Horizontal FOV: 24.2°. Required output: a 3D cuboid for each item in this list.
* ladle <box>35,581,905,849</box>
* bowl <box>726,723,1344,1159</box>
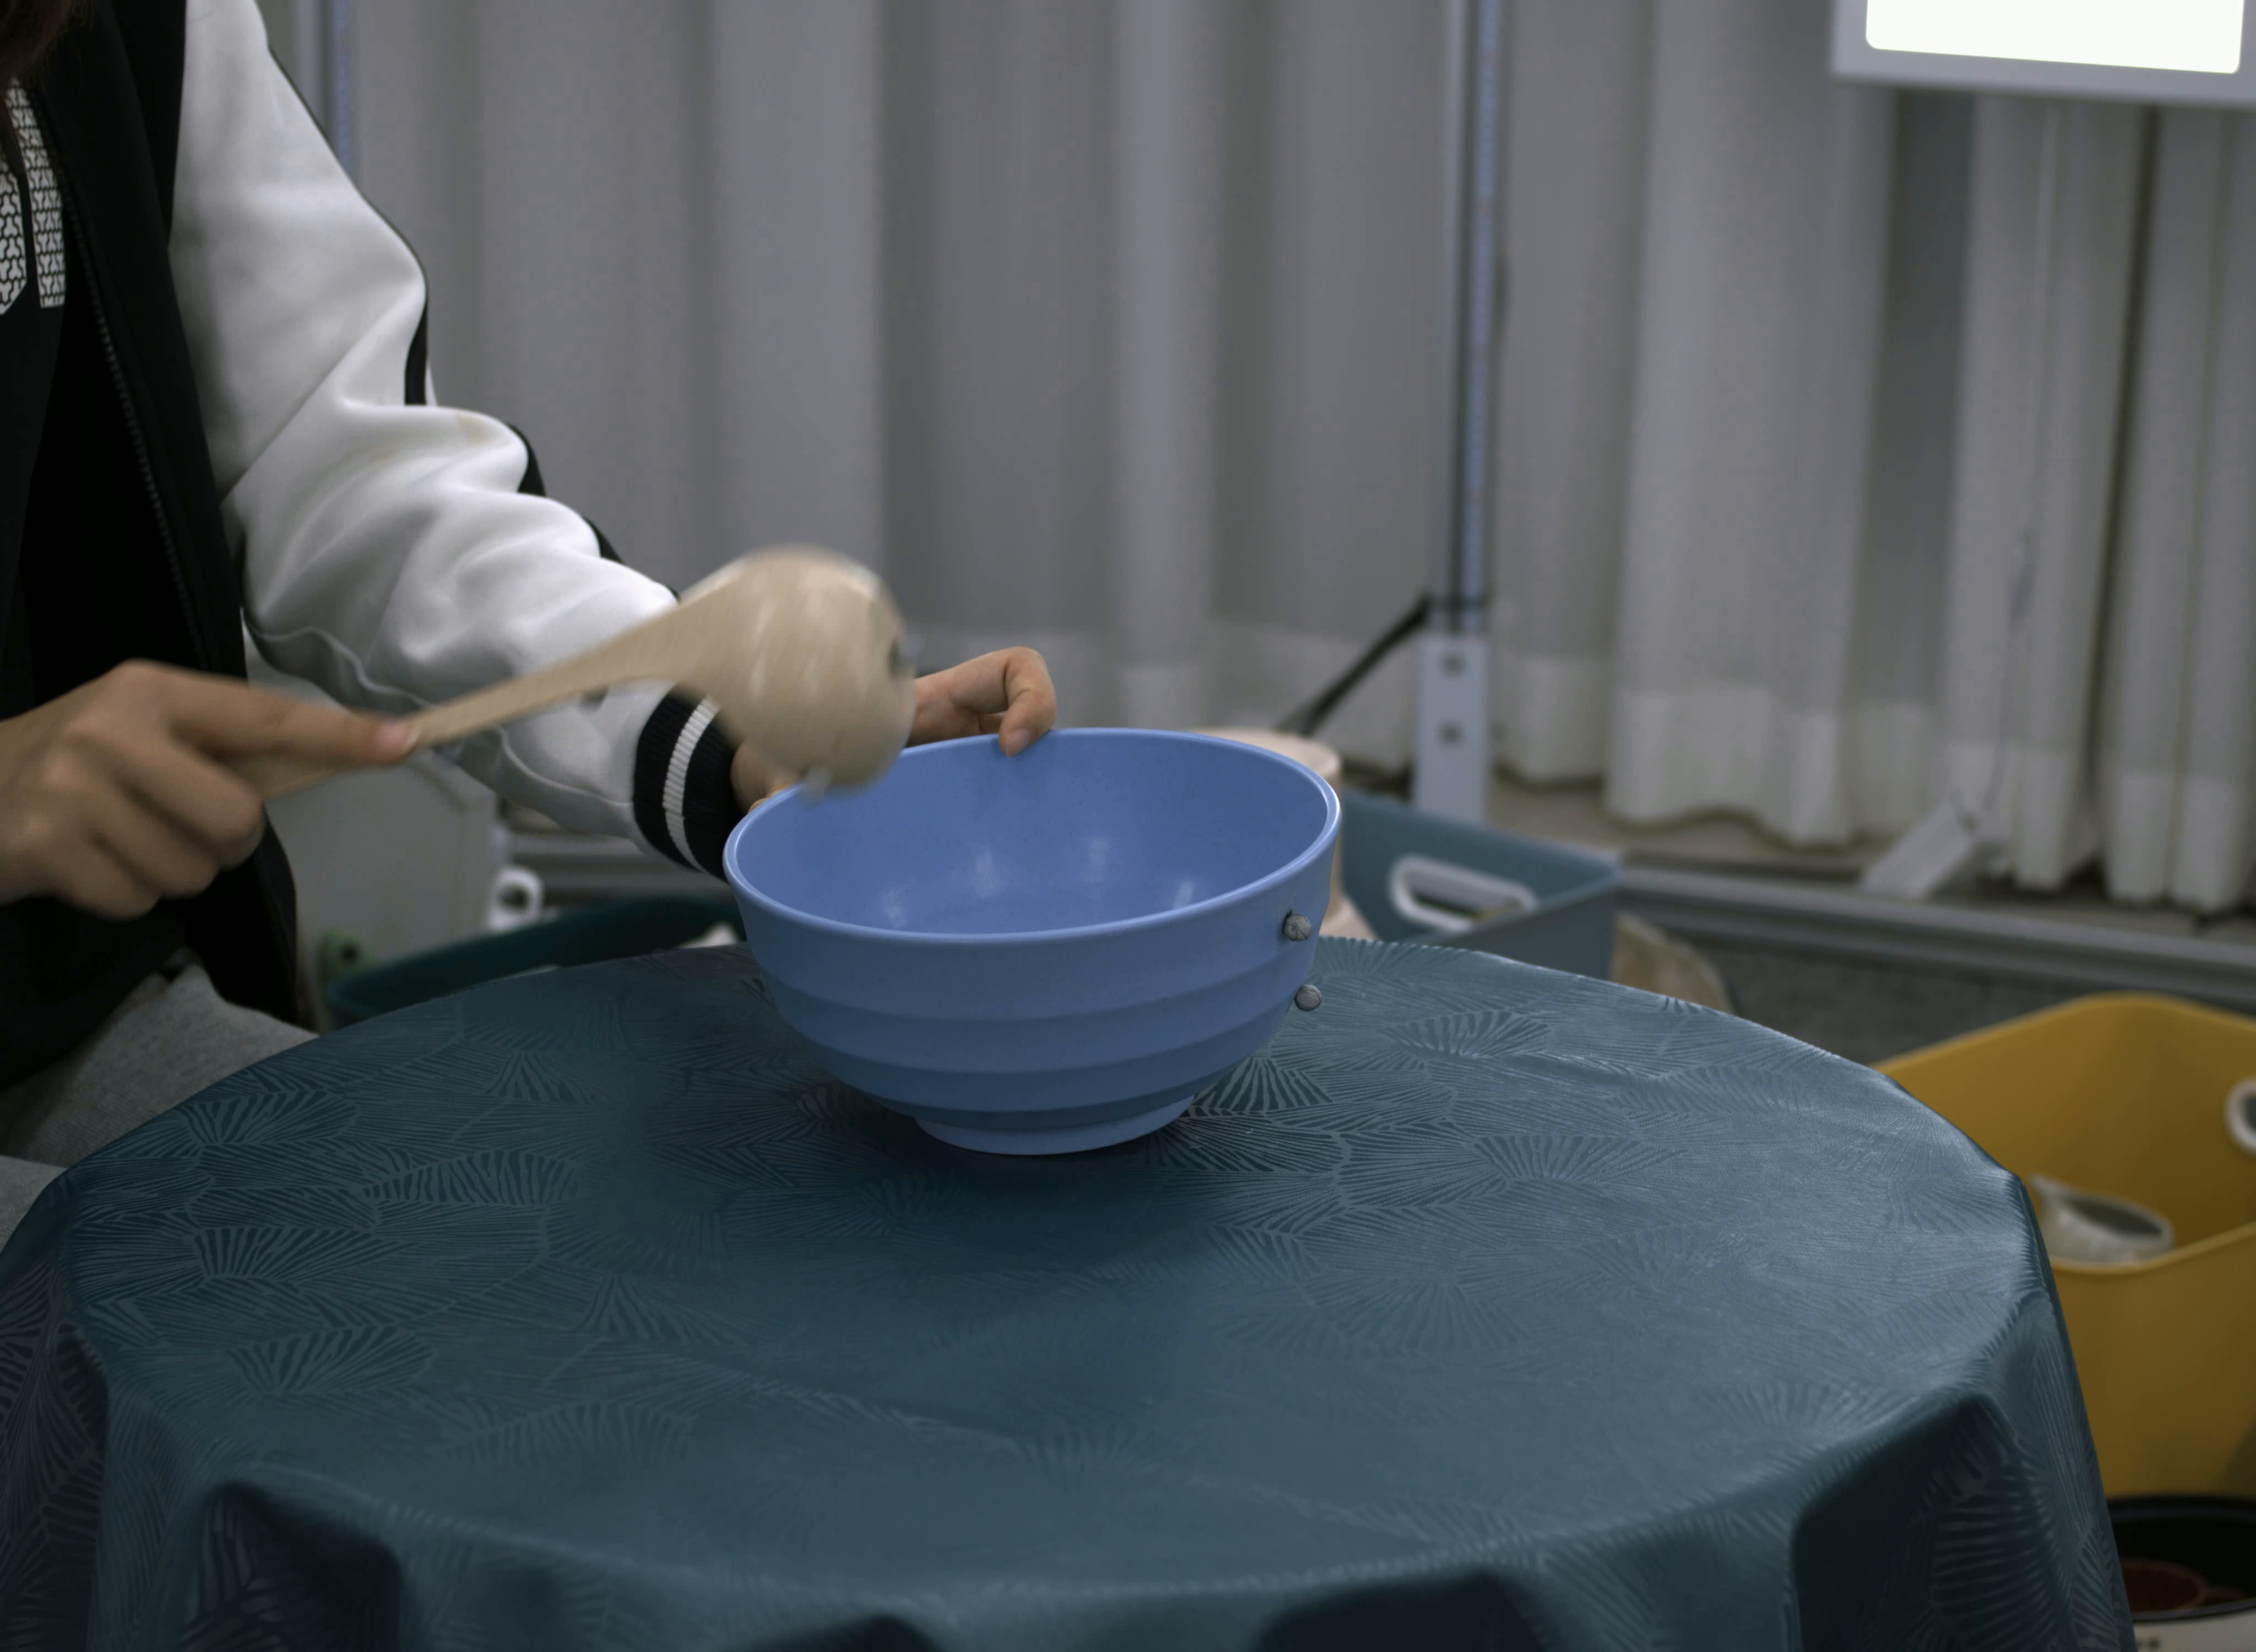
[{"bbox_3d":[-0.185,-0.011,1.502,0.252,0.071,0.074,-13,-33,20],"label":"ladle"},{"bbox_3d":[-0.026,0.045,1.677,0.196,0.096,0.195,-4,21,2],"label":"bowl"}]
